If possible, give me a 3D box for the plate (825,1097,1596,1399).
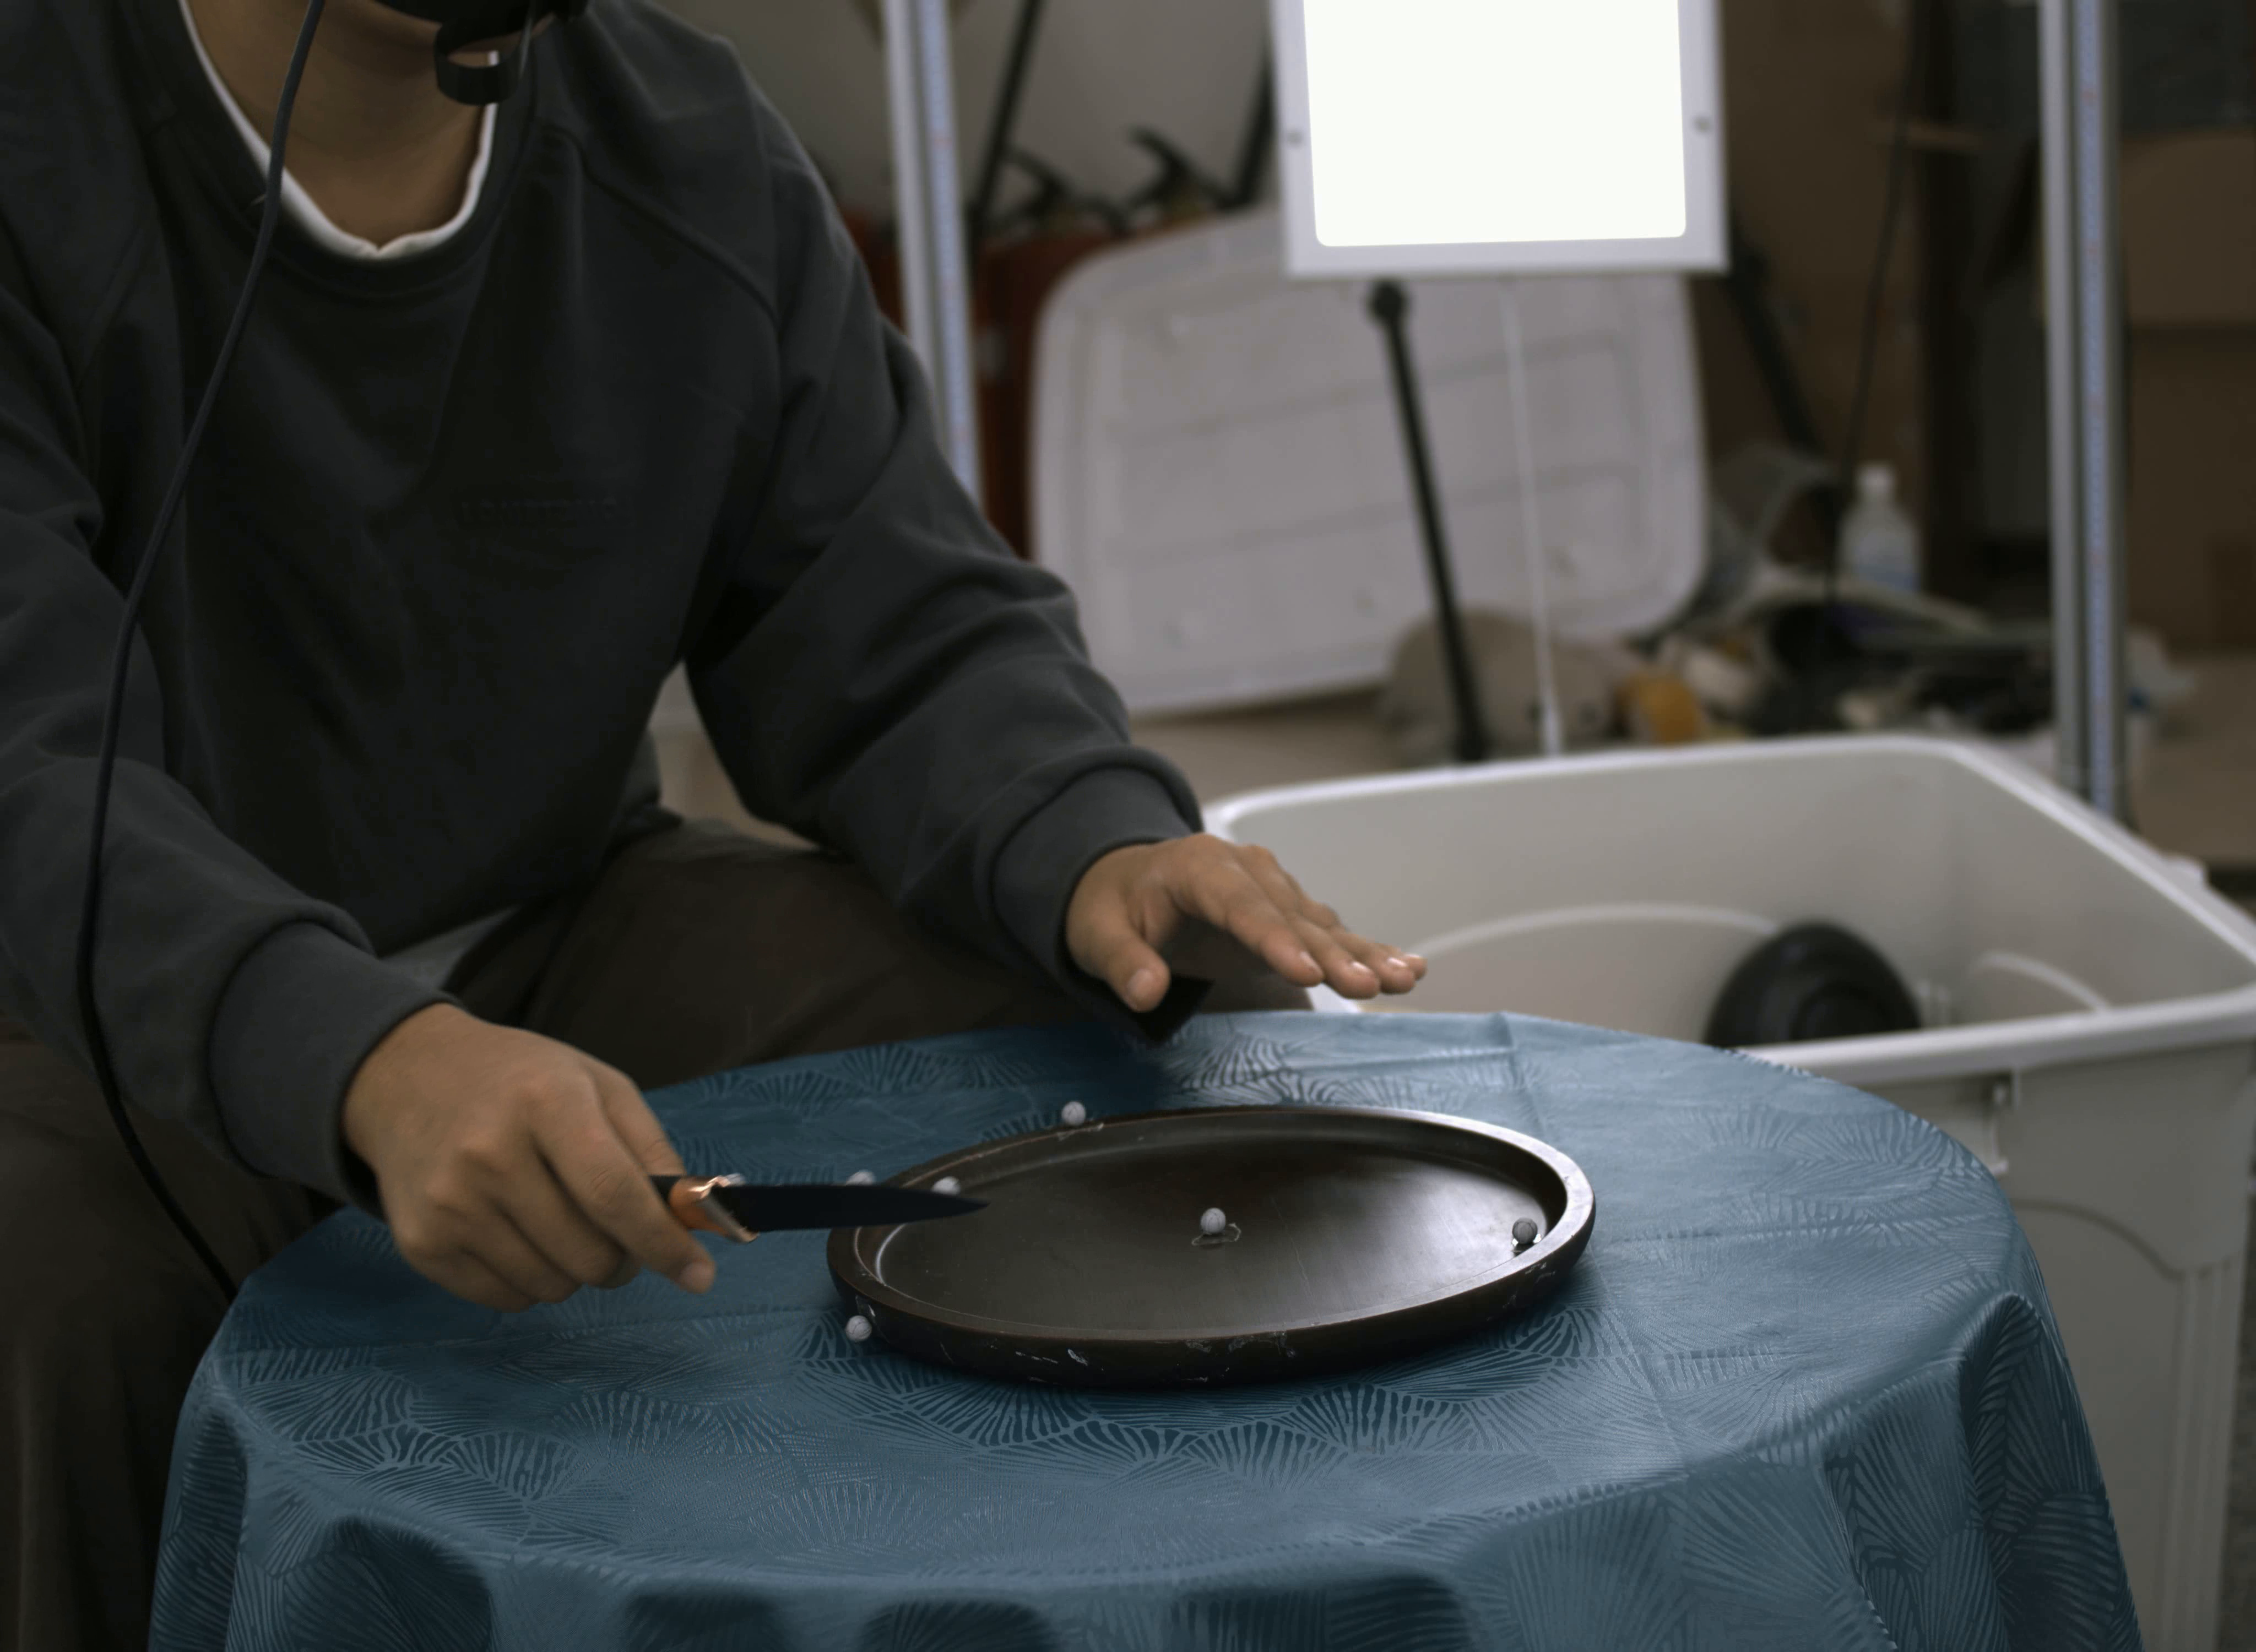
[{"bbox_3d":[0.027,0.136,1.801,0.254,0.029,0.254,-6,13,0],"label":"plate"}]

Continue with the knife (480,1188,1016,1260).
[{"bbox_3d":[-0.121,0.123,1.708,0.231,0.026,0.017,-6,44,43],"label":"knife"}]
